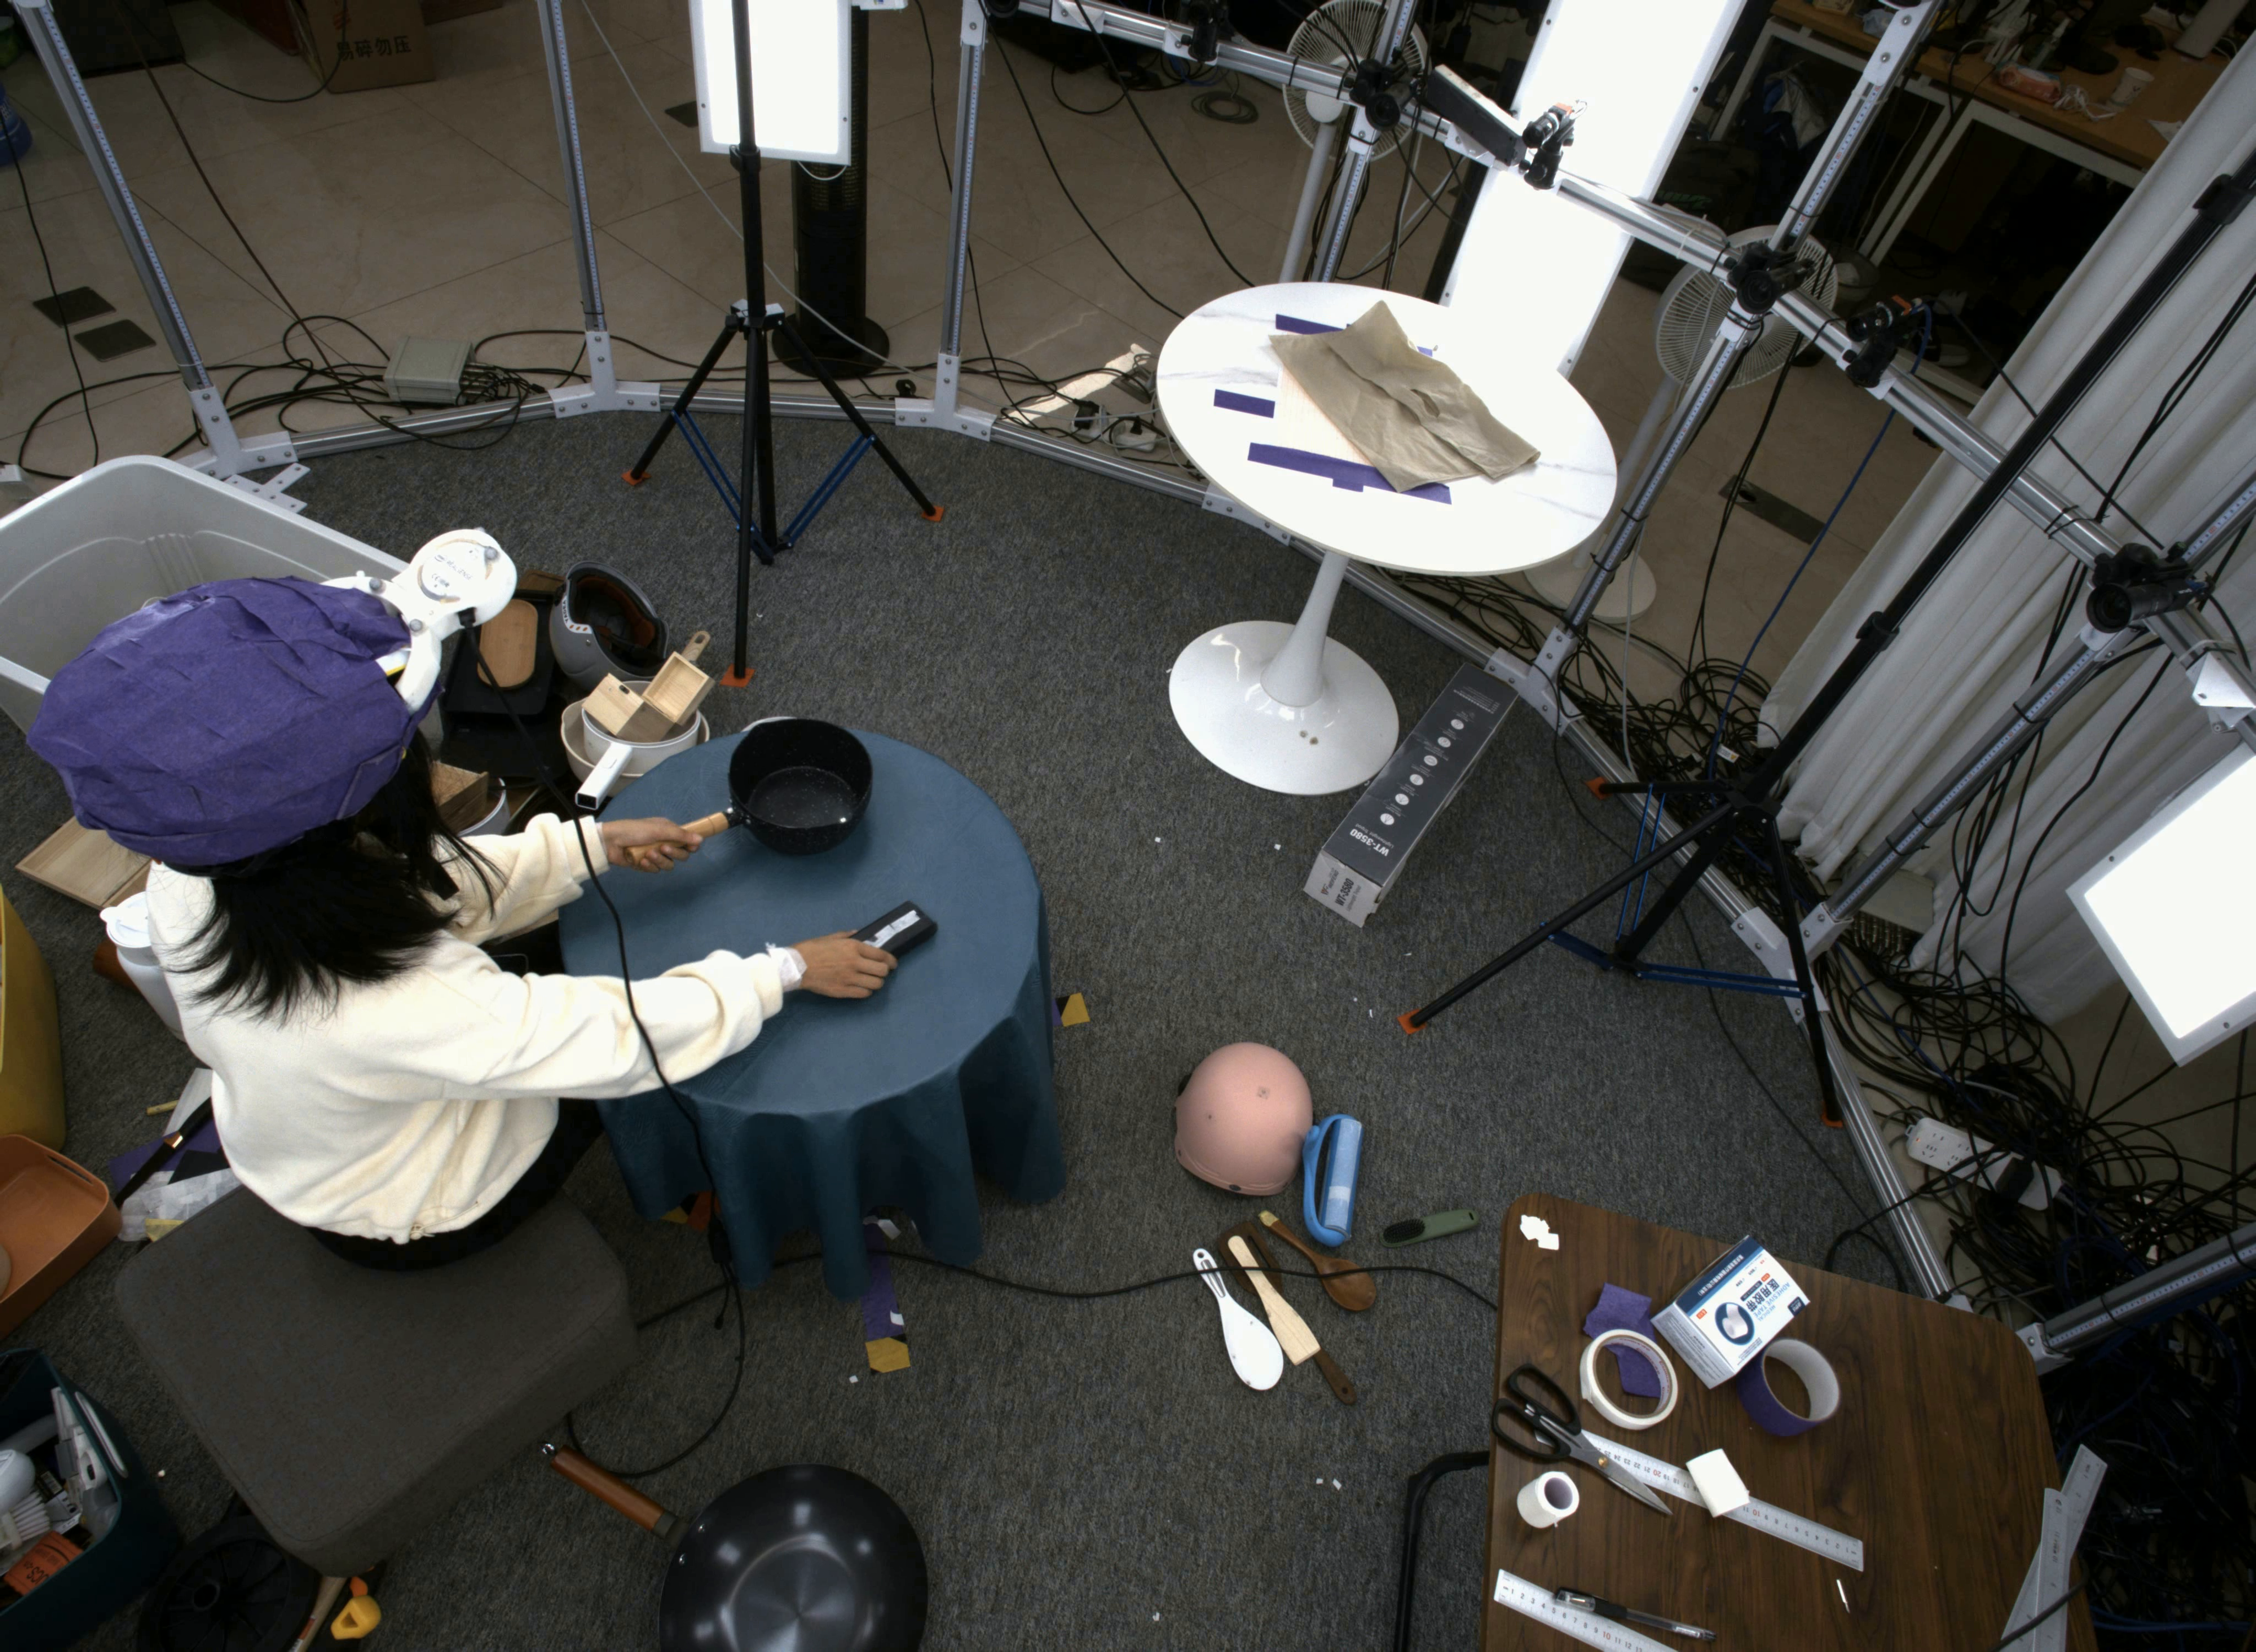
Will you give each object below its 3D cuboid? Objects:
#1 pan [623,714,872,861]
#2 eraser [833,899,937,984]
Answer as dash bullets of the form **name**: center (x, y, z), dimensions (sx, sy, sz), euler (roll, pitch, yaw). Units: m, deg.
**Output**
- **pan**: center (-0.483, -0.018, 1.646), dimensions (0.203, 0.110, 0.344), euler (43, 54, 18)
- **eraser**: center (-0.303, 0.141, 1.627), dimensions (0.126, 0.031, 0.052), euler (-34, 67, -32)
